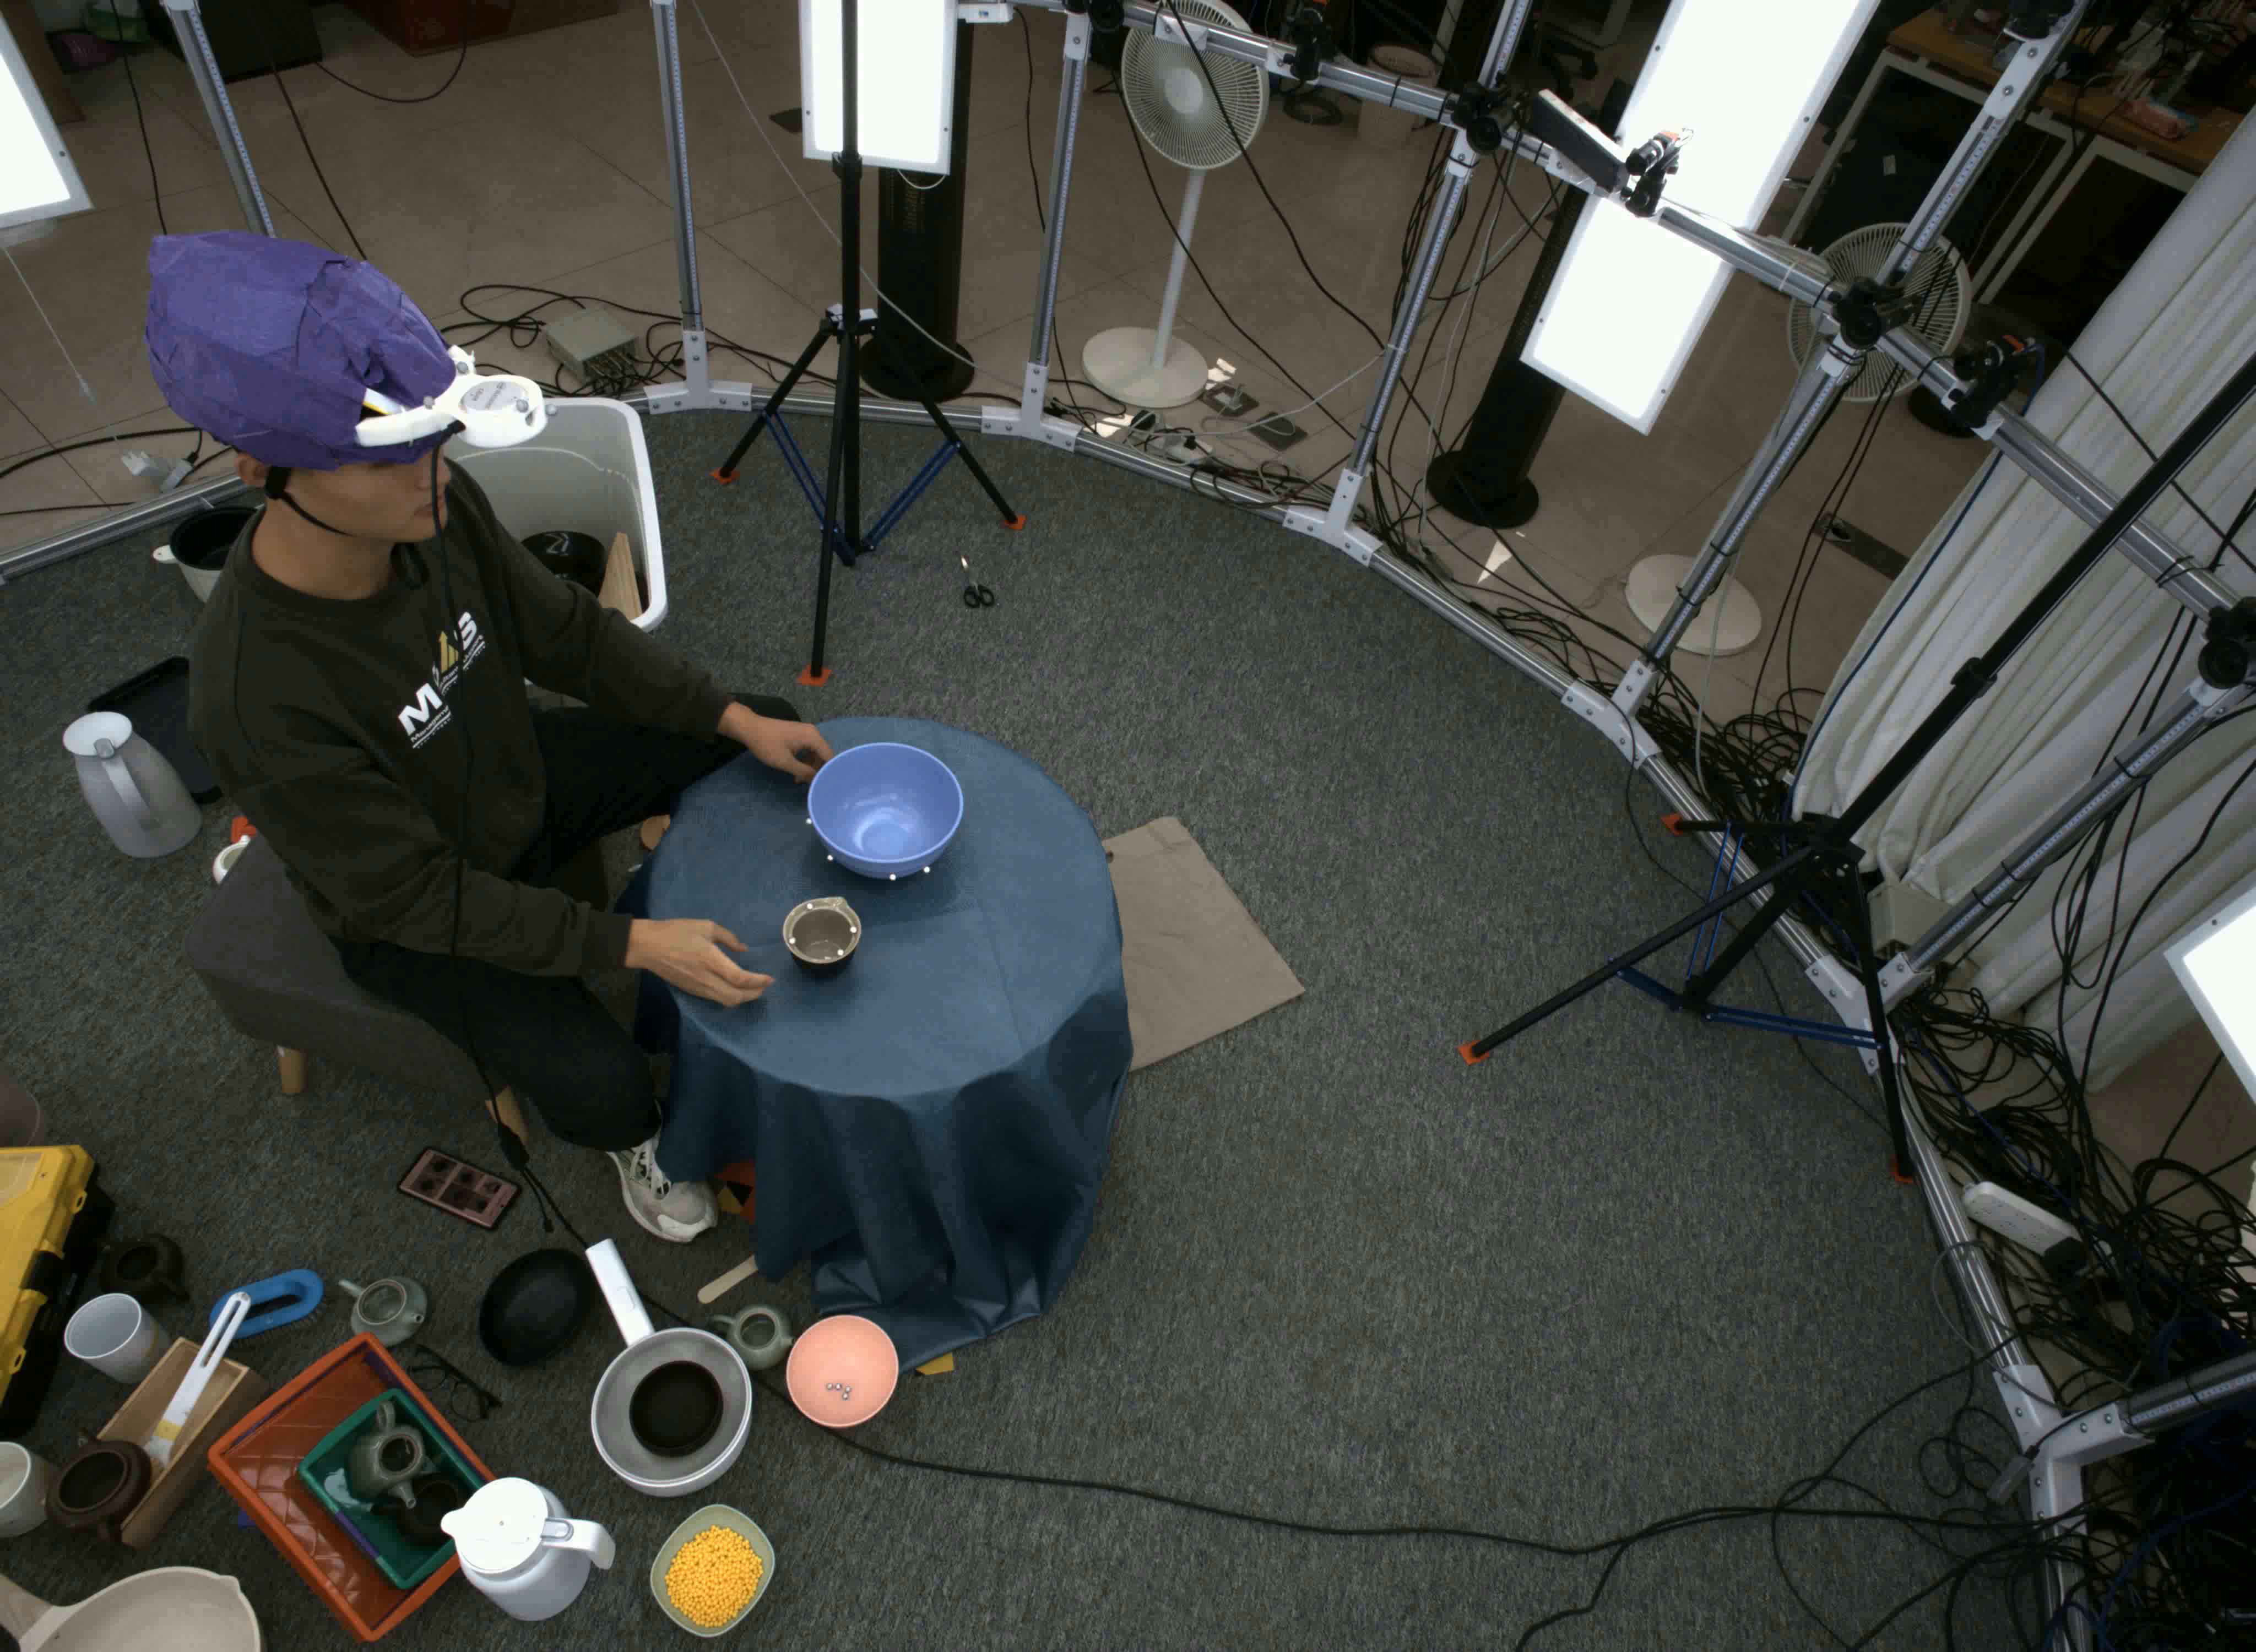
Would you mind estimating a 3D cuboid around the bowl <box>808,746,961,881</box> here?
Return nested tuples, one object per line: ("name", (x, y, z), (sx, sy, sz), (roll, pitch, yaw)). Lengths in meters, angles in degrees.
("bowl", (-0.317, -0.002, 1.706), (0.195, 0.098, 0.193), (6, 51, -6))

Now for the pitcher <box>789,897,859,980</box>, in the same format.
("pitcher", (-0.370, 0.142, 1.595), (0.082, 0.073, 0.095), (17, 52, 3))
